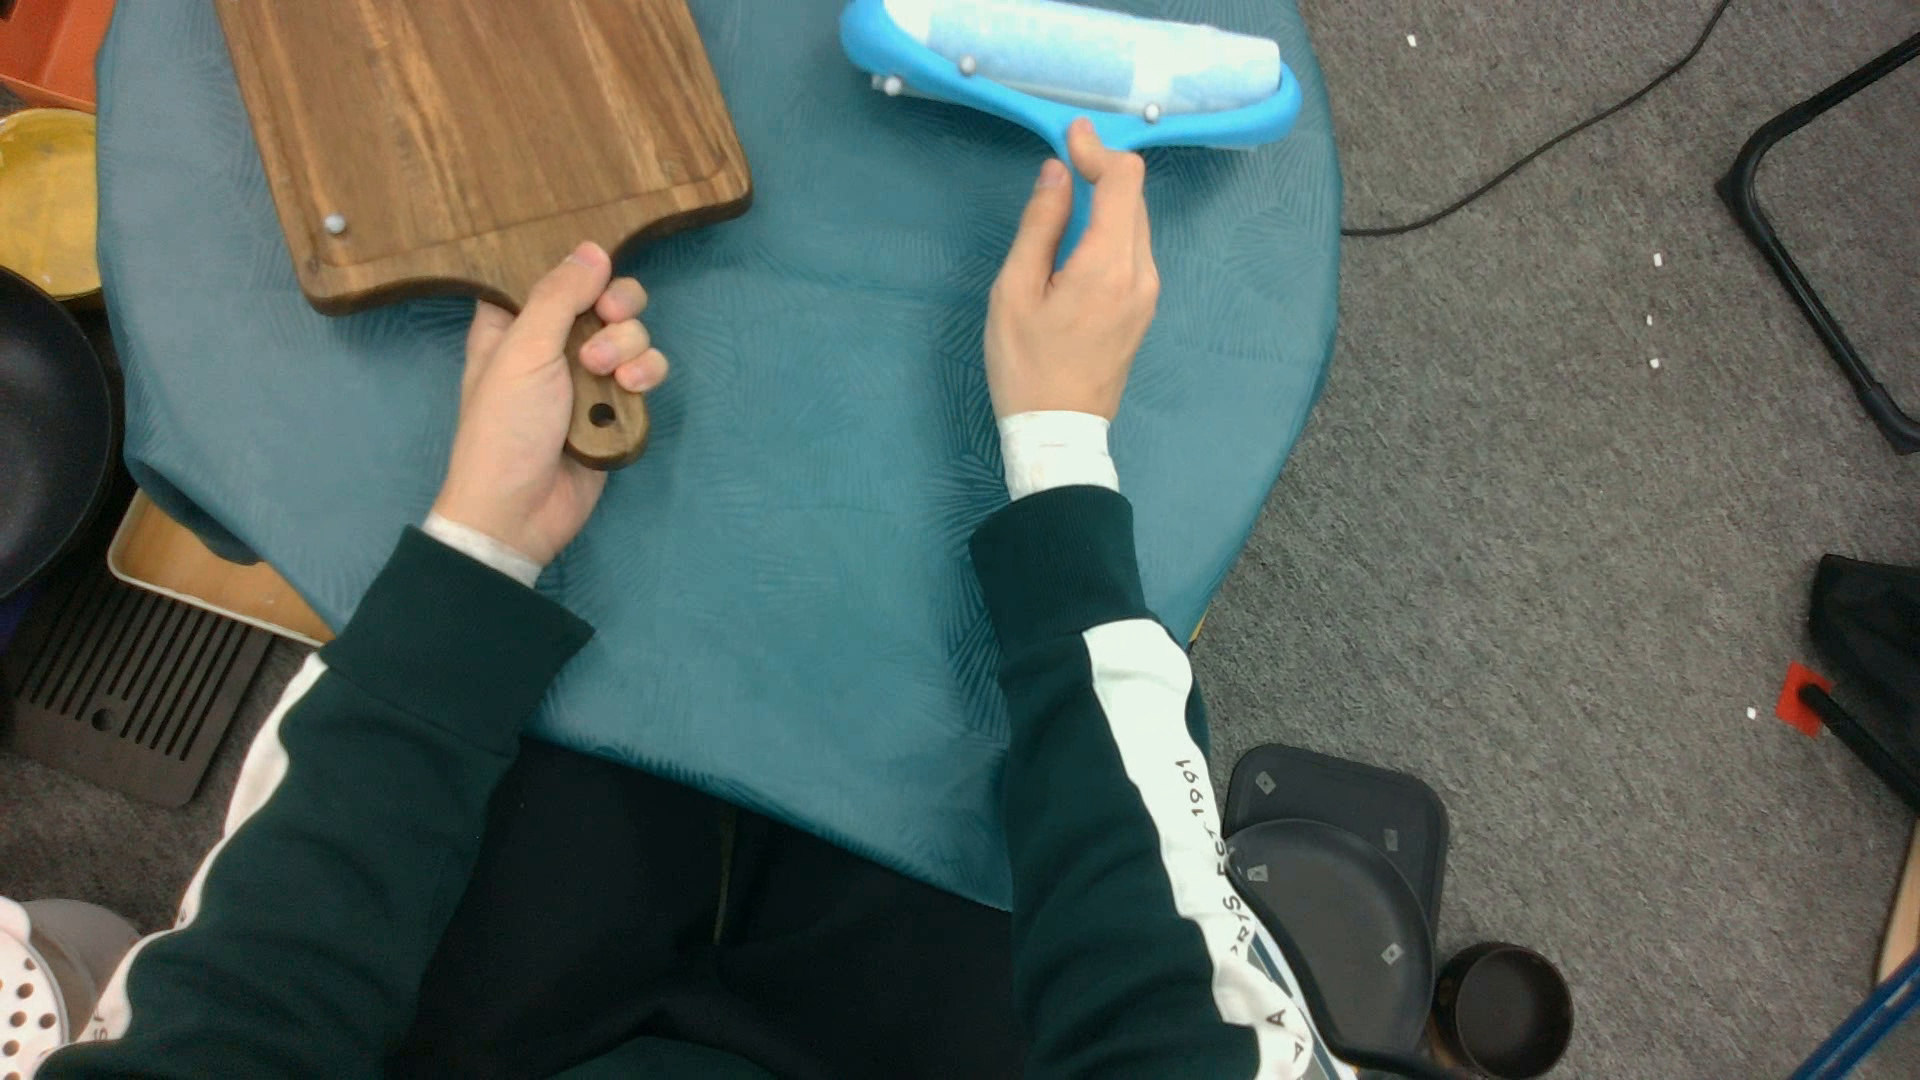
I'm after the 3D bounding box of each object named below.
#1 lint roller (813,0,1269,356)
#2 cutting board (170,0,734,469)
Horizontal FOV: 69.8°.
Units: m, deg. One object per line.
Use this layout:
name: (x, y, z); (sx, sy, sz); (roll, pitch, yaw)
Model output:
lint roller: (0.044, -0.183, 0.662); (0.229, 0.067, 0.181); (2, 72, -13)
cutting board: (-0.220, -0.190, 0.616); (0.201, 0.023, 0.352); (-21, 79, -15)
